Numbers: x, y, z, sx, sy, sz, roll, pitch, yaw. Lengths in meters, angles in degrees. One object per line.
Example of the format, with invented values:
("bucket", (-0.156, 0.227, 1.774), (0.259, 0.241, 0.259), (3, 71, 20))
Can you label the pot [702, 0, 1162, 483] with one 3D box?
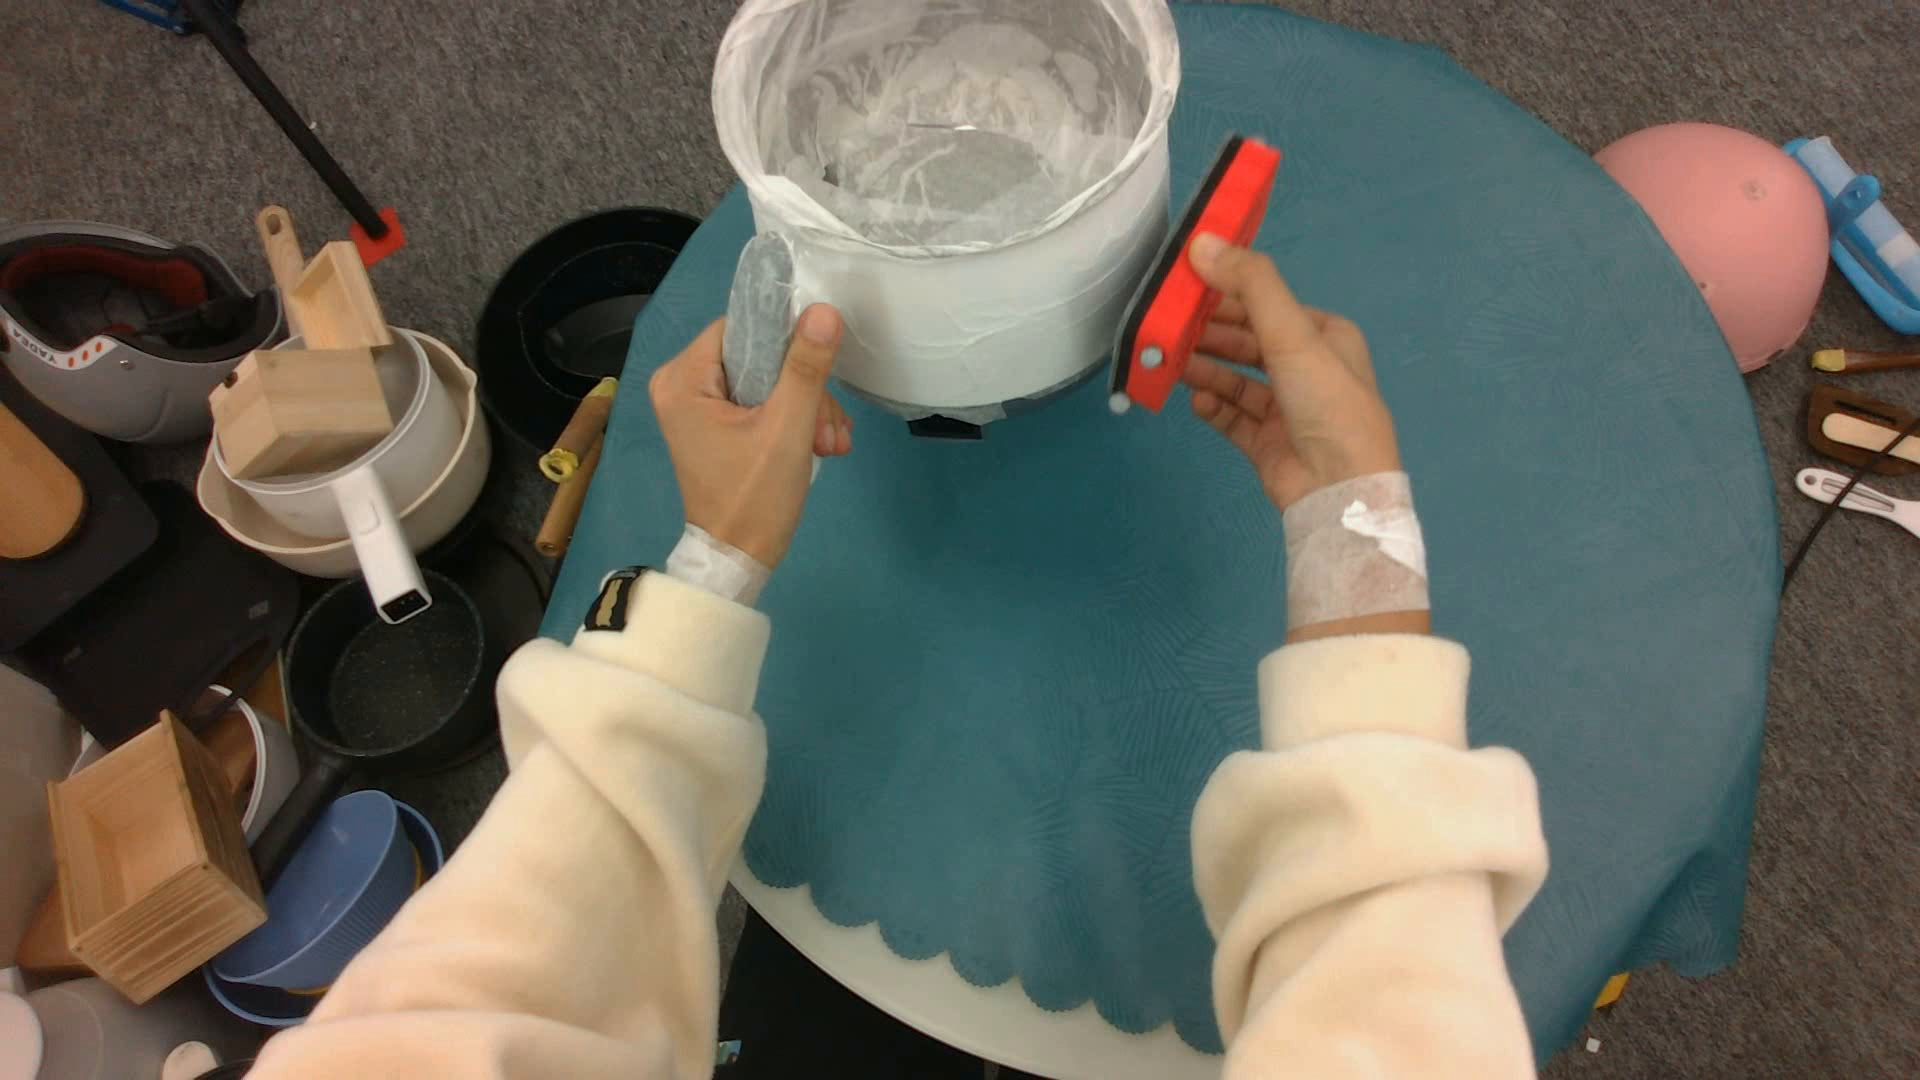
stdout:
("pot", (-0.022, -0.133, 0.568), (0.179, 0.136, 0.234), (29, 67, 21))

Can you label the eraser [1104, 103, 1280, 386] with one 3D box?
("eraser", (0.091, -0.116, 0.539), (0.023, 0.059, 0.108), (26, 66, 7))
